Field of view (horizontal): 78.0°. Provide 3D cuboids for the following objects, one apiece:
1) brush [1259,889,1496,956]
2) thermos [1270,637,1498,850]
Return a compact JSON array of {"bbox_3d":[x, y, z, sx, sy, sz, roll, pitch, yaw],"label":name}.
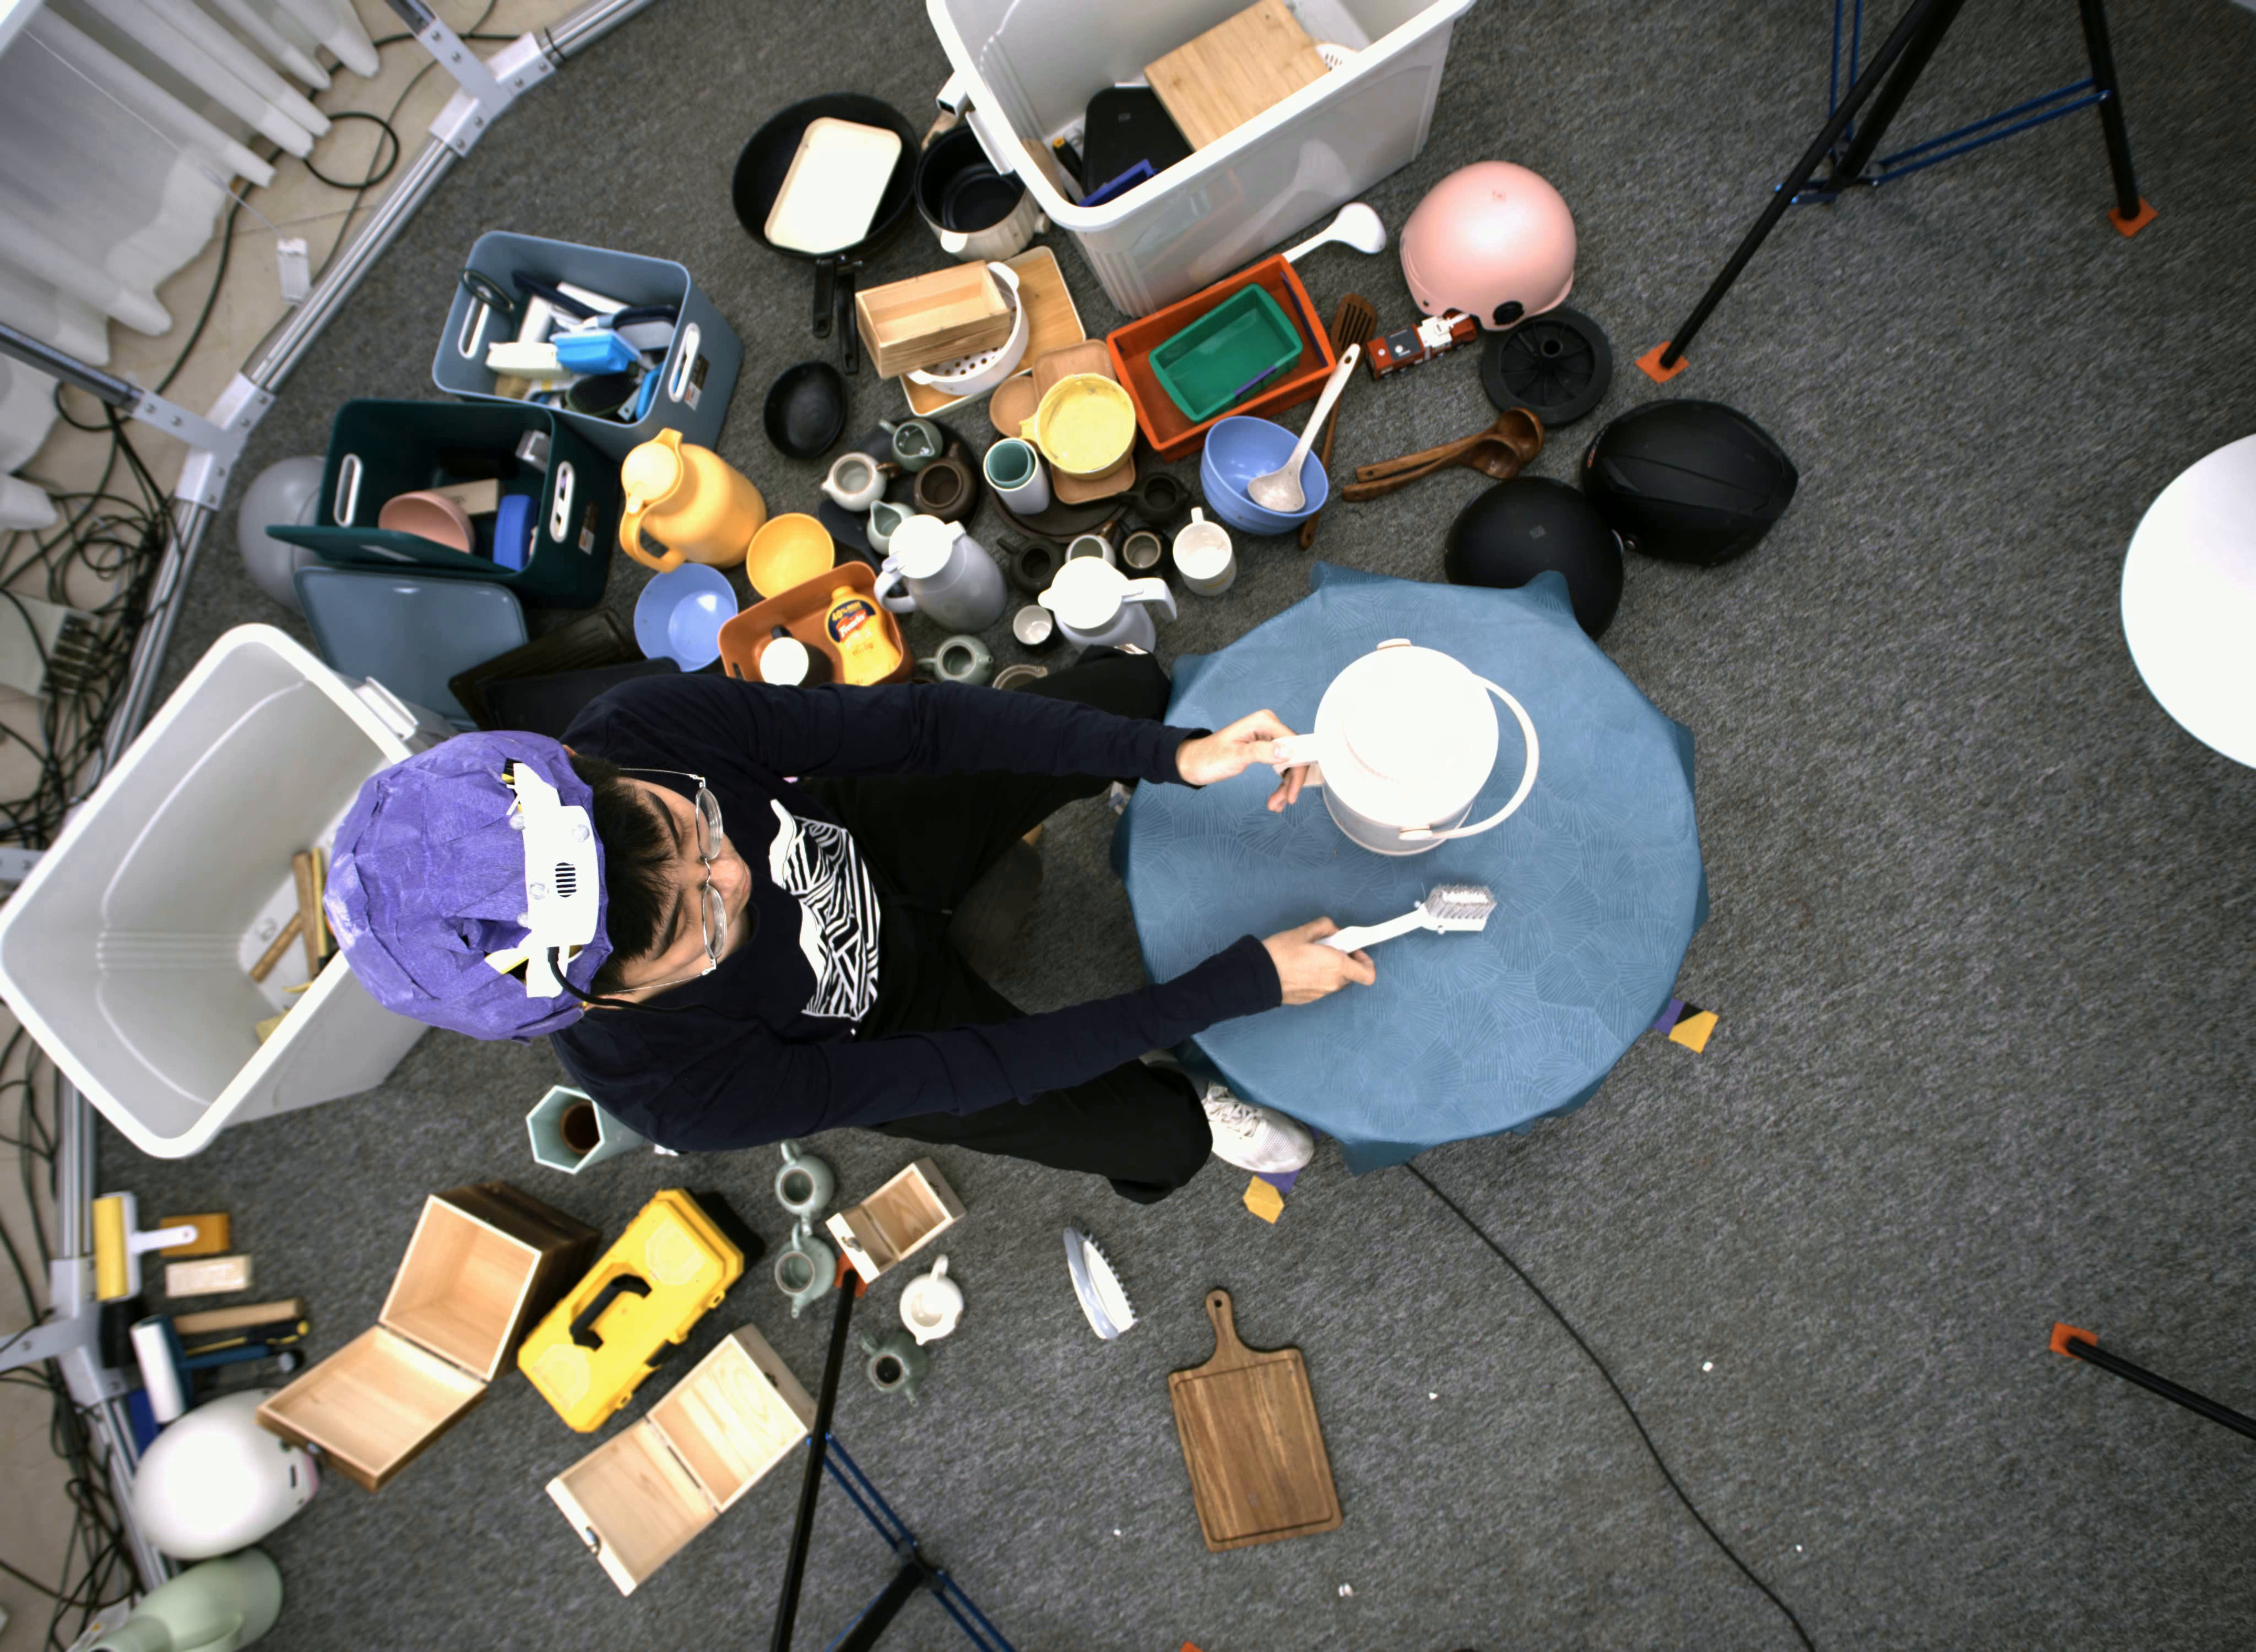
[{"bbox_3d":[0.254,0.097,1.415,0.244,0.051,0.033,-8,54,2],"label":"brush"},{"bbox_3d":[0.240,-0.070,1.270,0.208,0.406,0.174,-7,85,9],"label":"thermos"}]
